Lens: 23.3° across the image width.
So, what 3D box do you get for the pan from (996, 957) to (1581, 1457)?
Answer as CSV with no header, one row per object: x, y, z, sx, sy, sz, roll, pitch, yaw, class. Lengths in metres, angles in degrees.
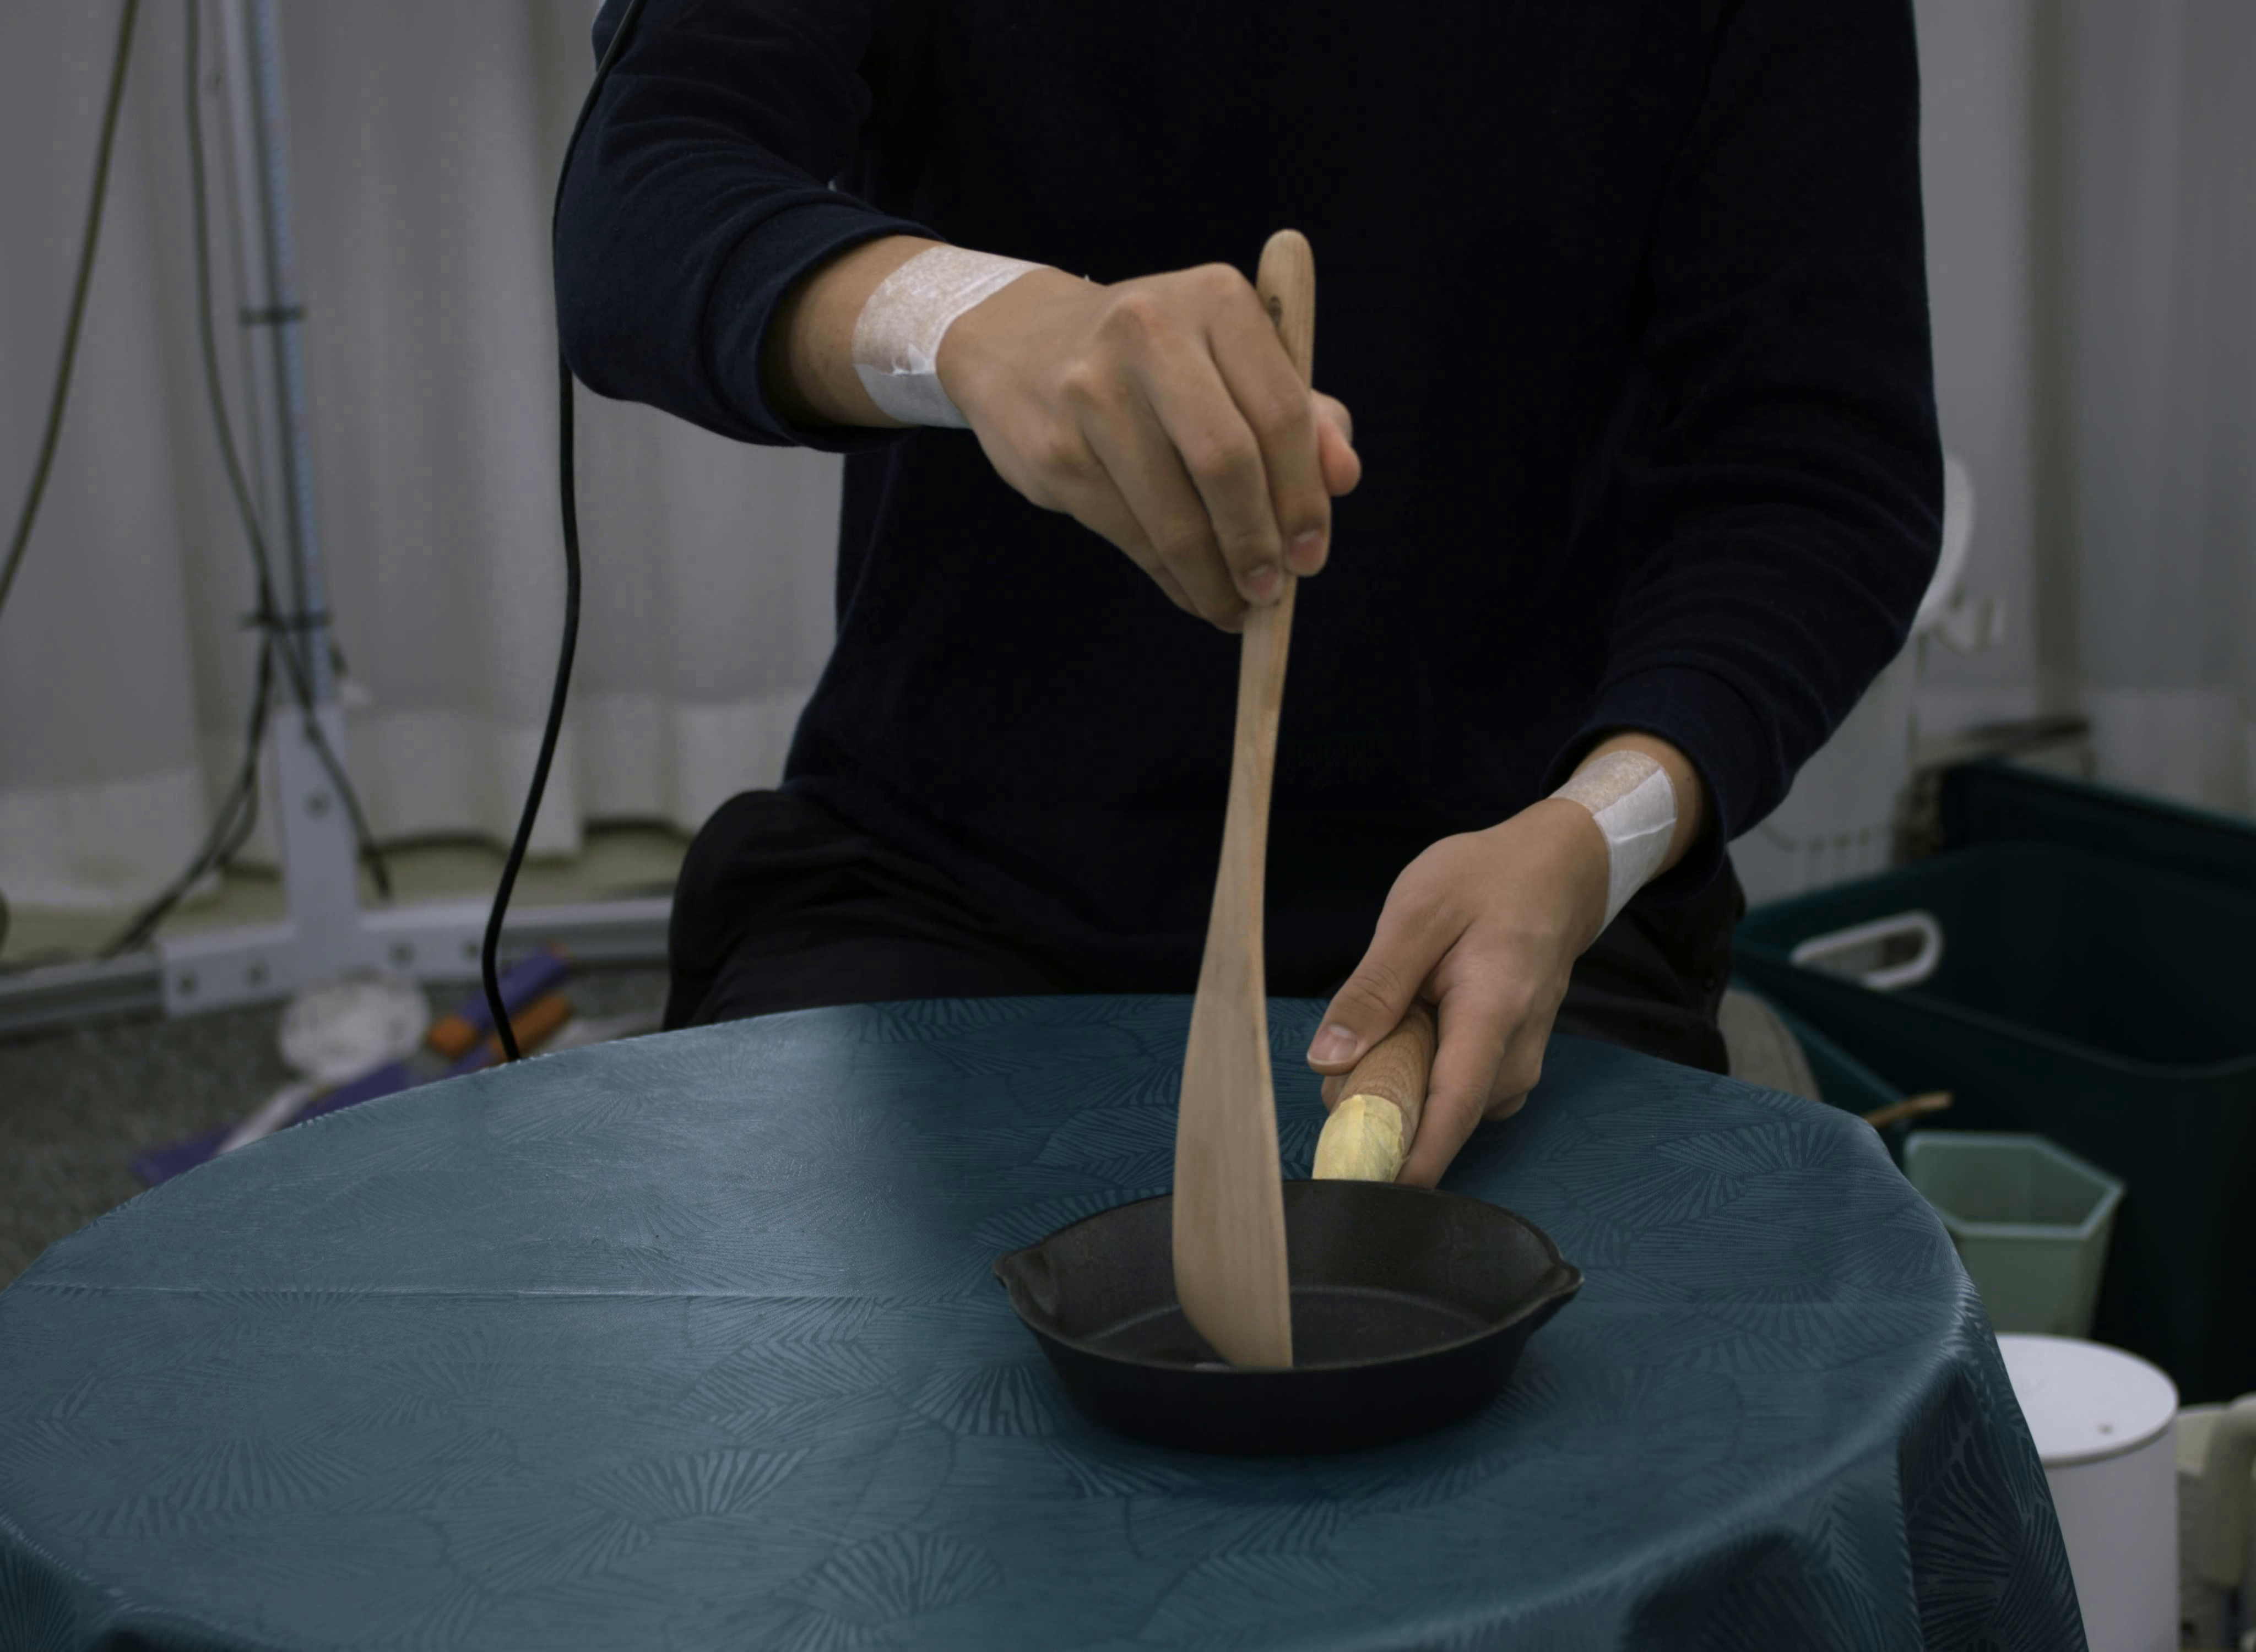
0.066,0.110,1.623,0.169,0.049,0.326,1,17,15,pan

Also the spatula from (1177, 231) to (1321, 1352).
0.038,-0.001,1.522,0.016,0.328,0.080,2,5,-23,spatula
